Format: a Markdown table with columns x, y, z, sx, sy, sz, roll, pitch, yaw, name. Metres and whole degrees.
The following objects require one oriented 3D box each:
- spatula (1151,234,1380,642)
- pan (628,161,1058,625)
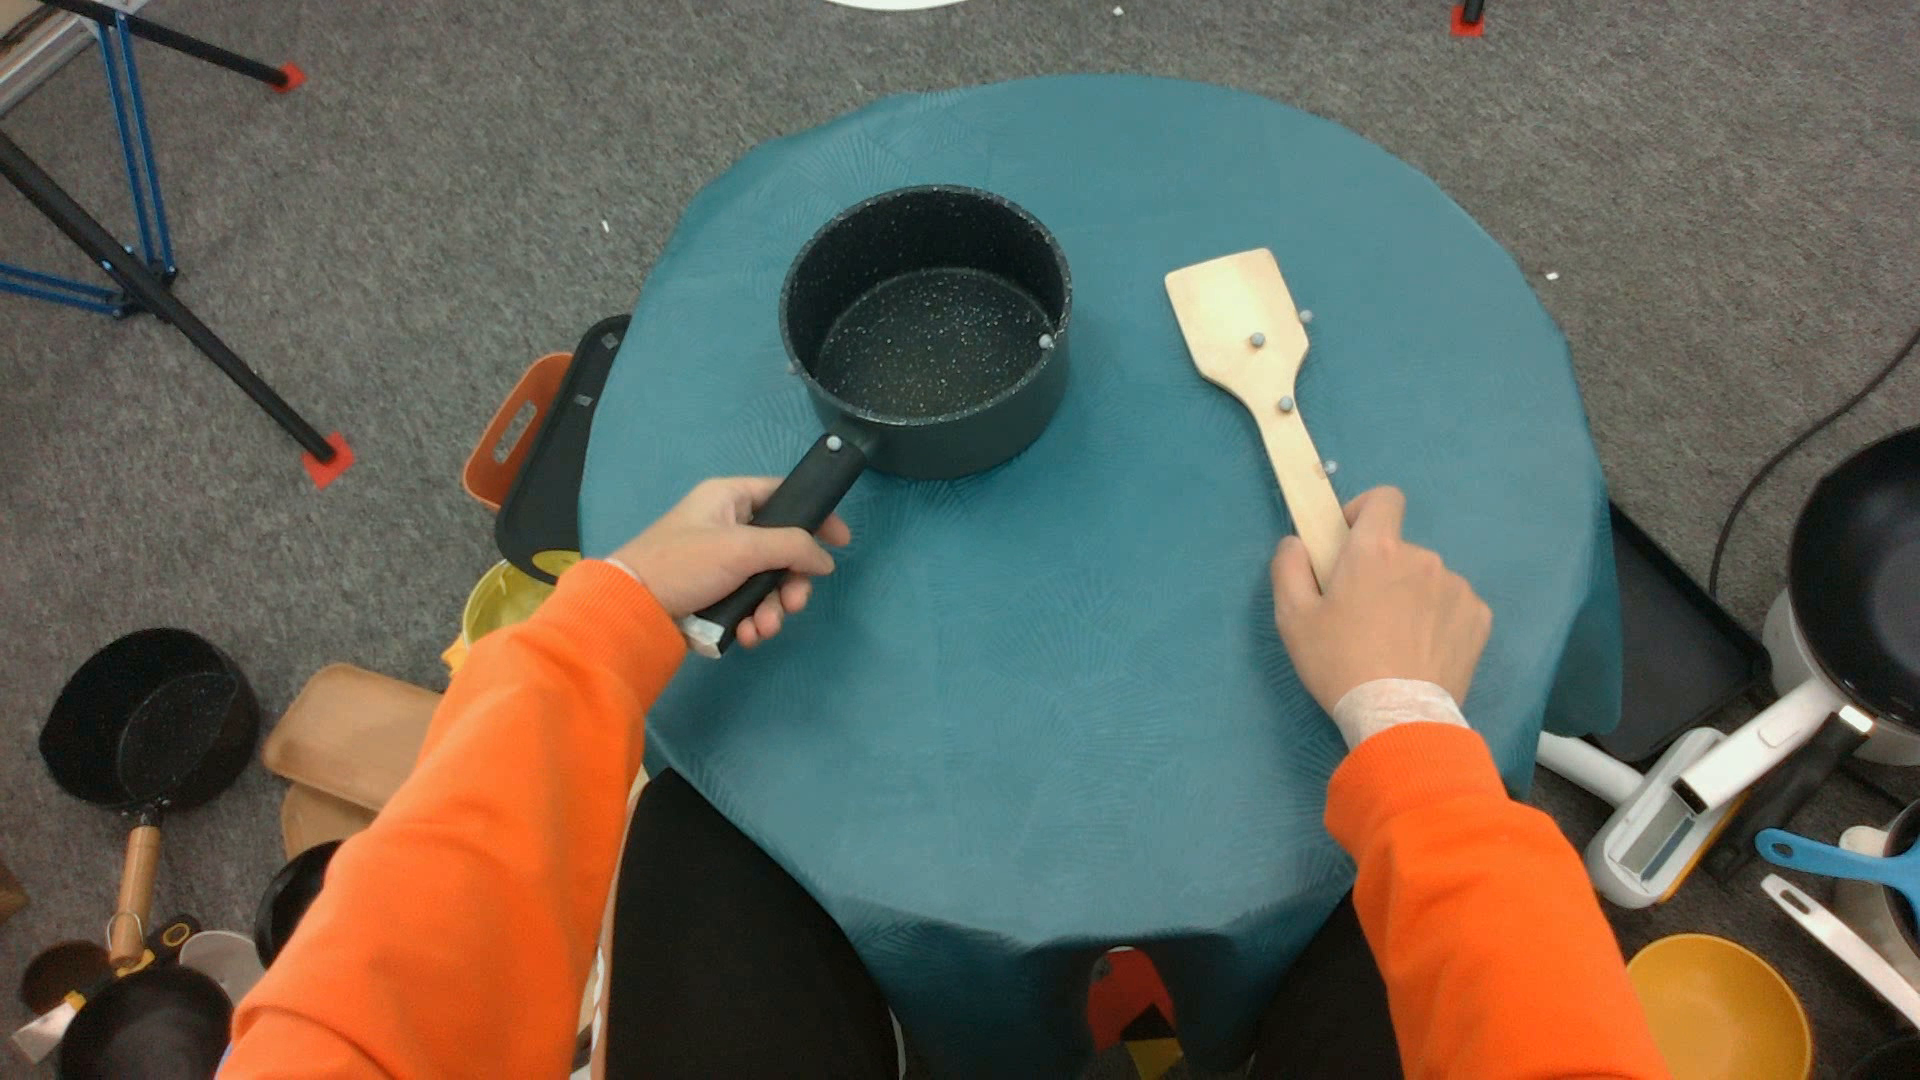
| x | y | z | sx | sy | sz | roll | pitch | yaw | name |
| --- | --- | --- | --- | --- | --- | --- | --- | --- | --- |
| 0.181 | -0.068 | 0.792 | 0.072 | 0.010 | 0.294 | -12 | 57 | -2 | spatula |
| -0.068 | -0.074 | 0.788 | 0.172 | 0.086 | 0.330 | 27 | 67 | 18 | pan |
